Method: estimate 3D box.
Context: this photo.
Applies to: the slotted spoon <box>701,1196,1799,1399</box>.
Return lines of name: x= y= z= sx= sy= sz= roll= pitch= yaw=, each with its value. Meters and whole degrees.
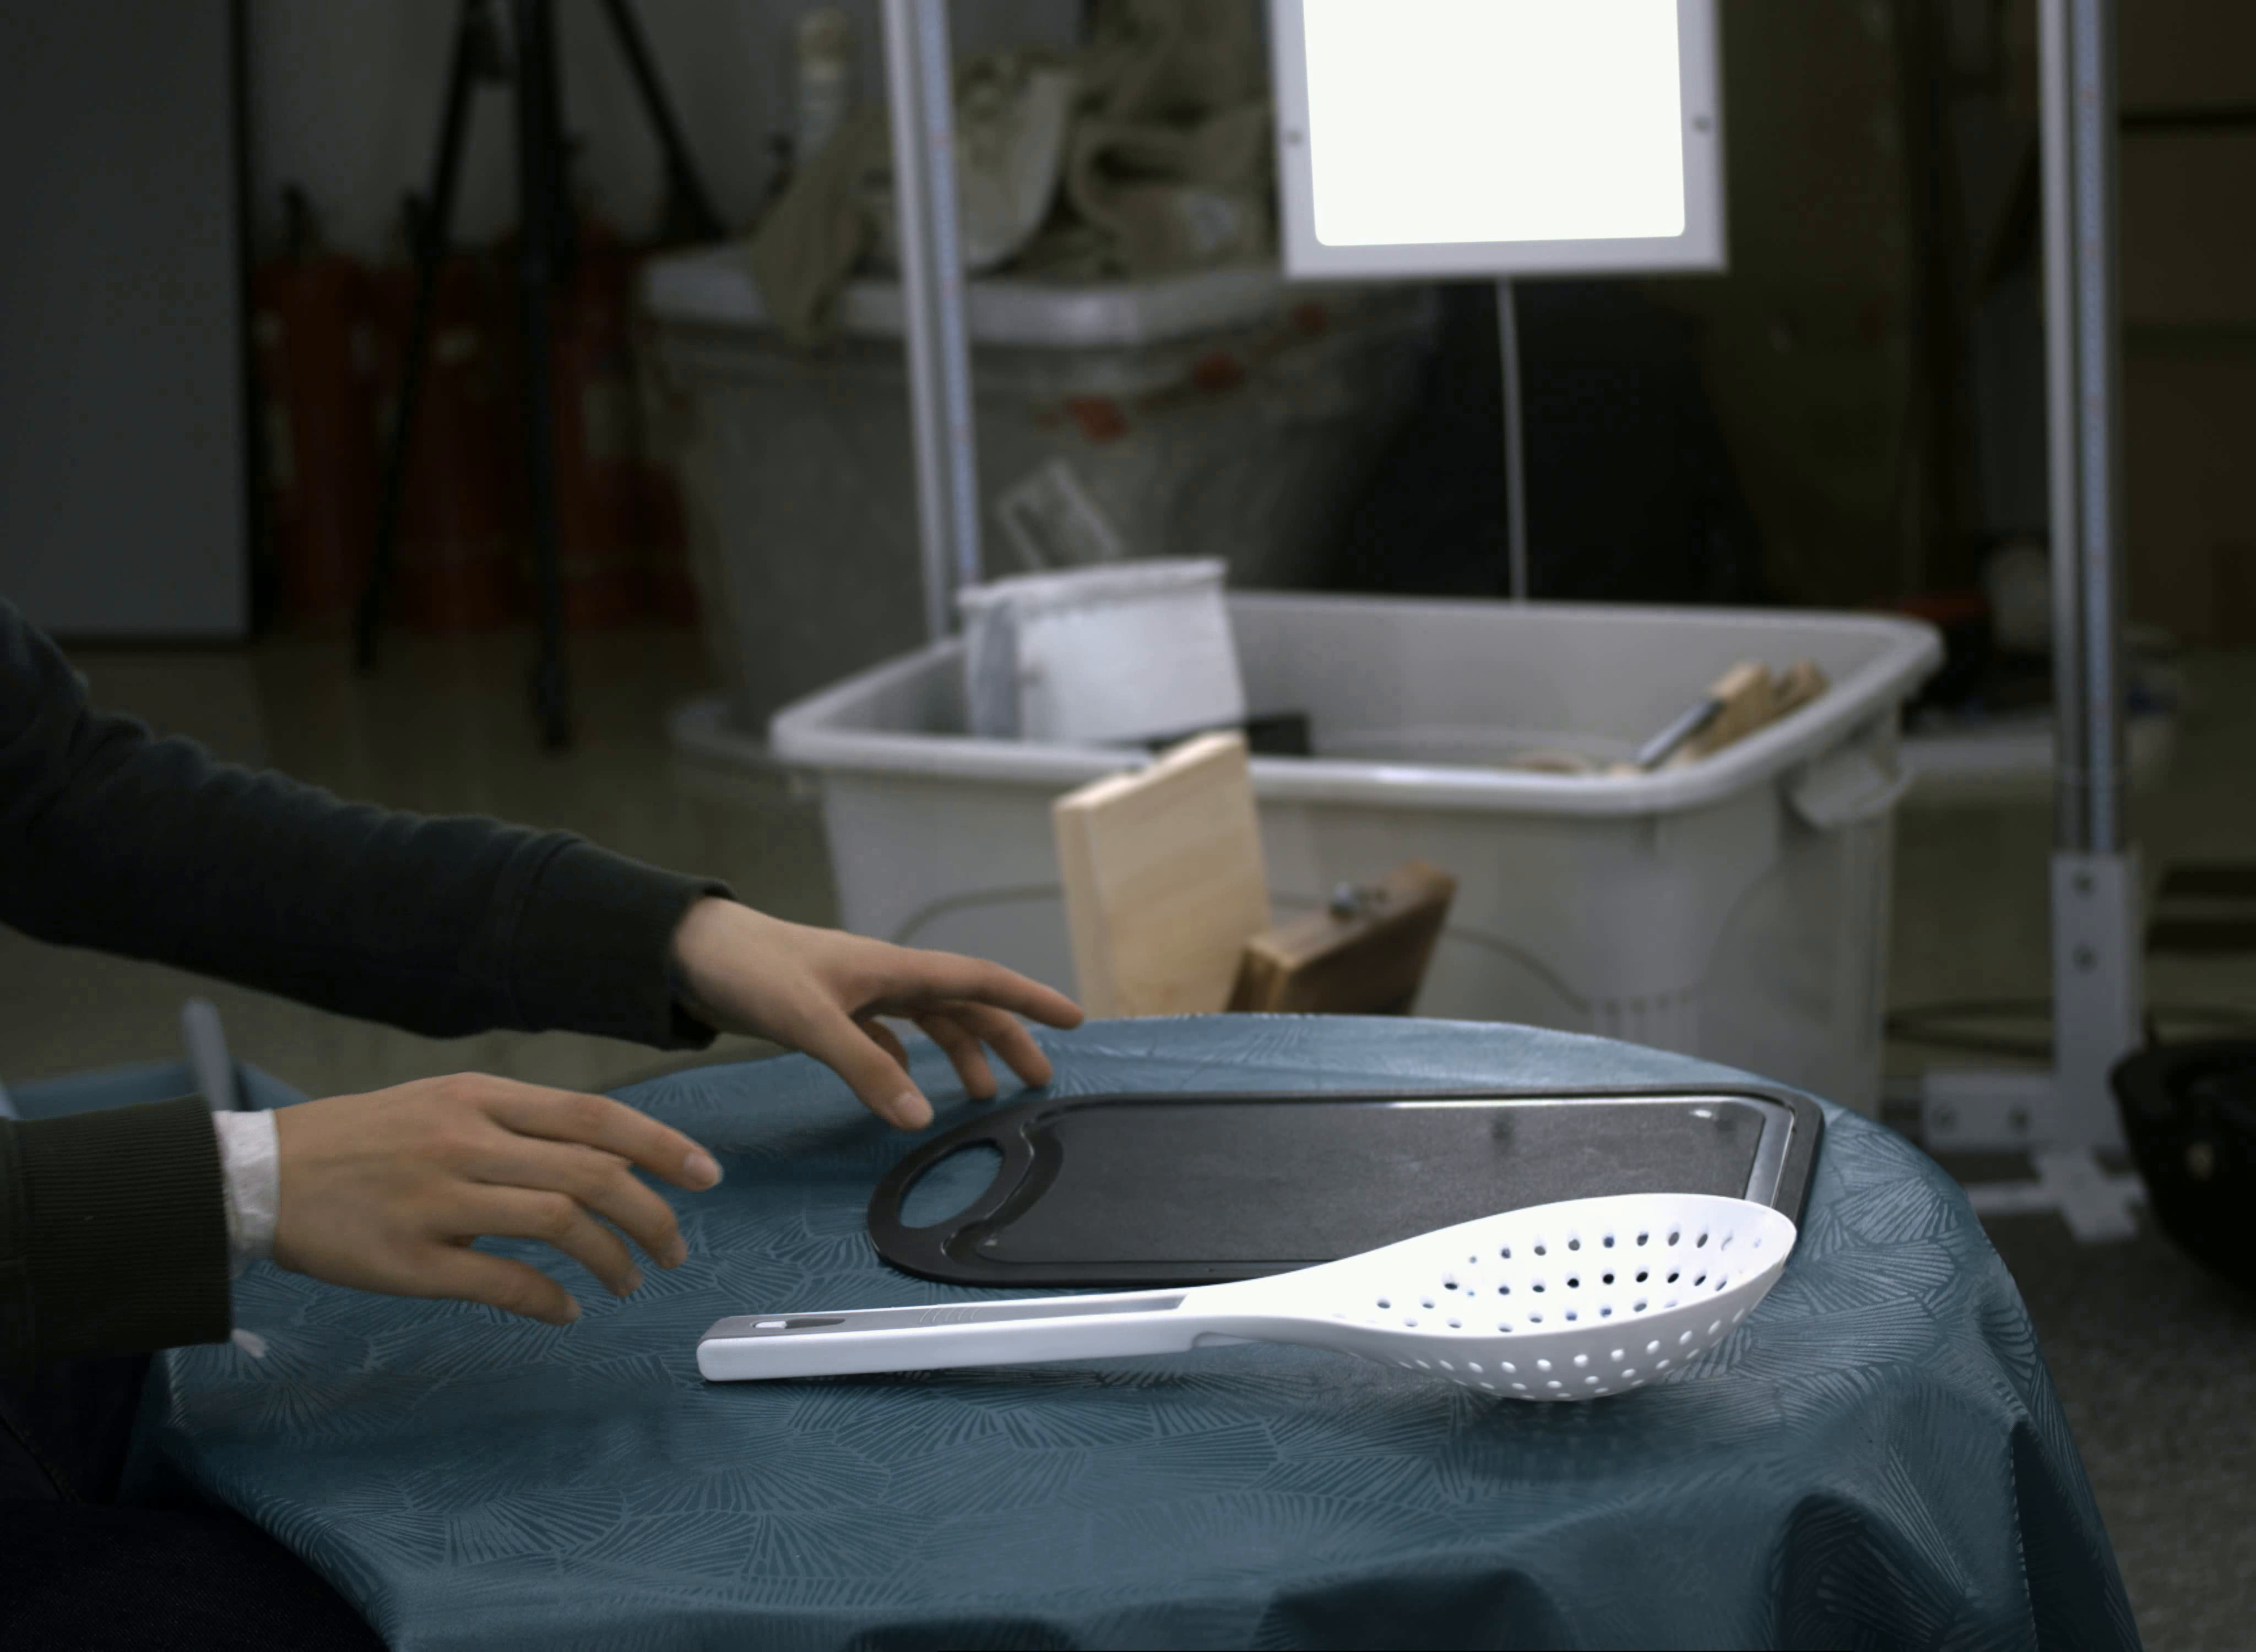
slotted spoon: x=0.034 y=0.149 z=1.695 sx=0.354 sy=0.046 sz=0.134 roll=-1 pitch=12 yaw=18

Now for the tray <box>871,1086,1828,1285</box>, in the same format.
tray: x=0.074 y=0.120 z=1.882 sx=0.328 sy=0.010 sz=0.208 roll=-2 pitch=14 yaw=14
